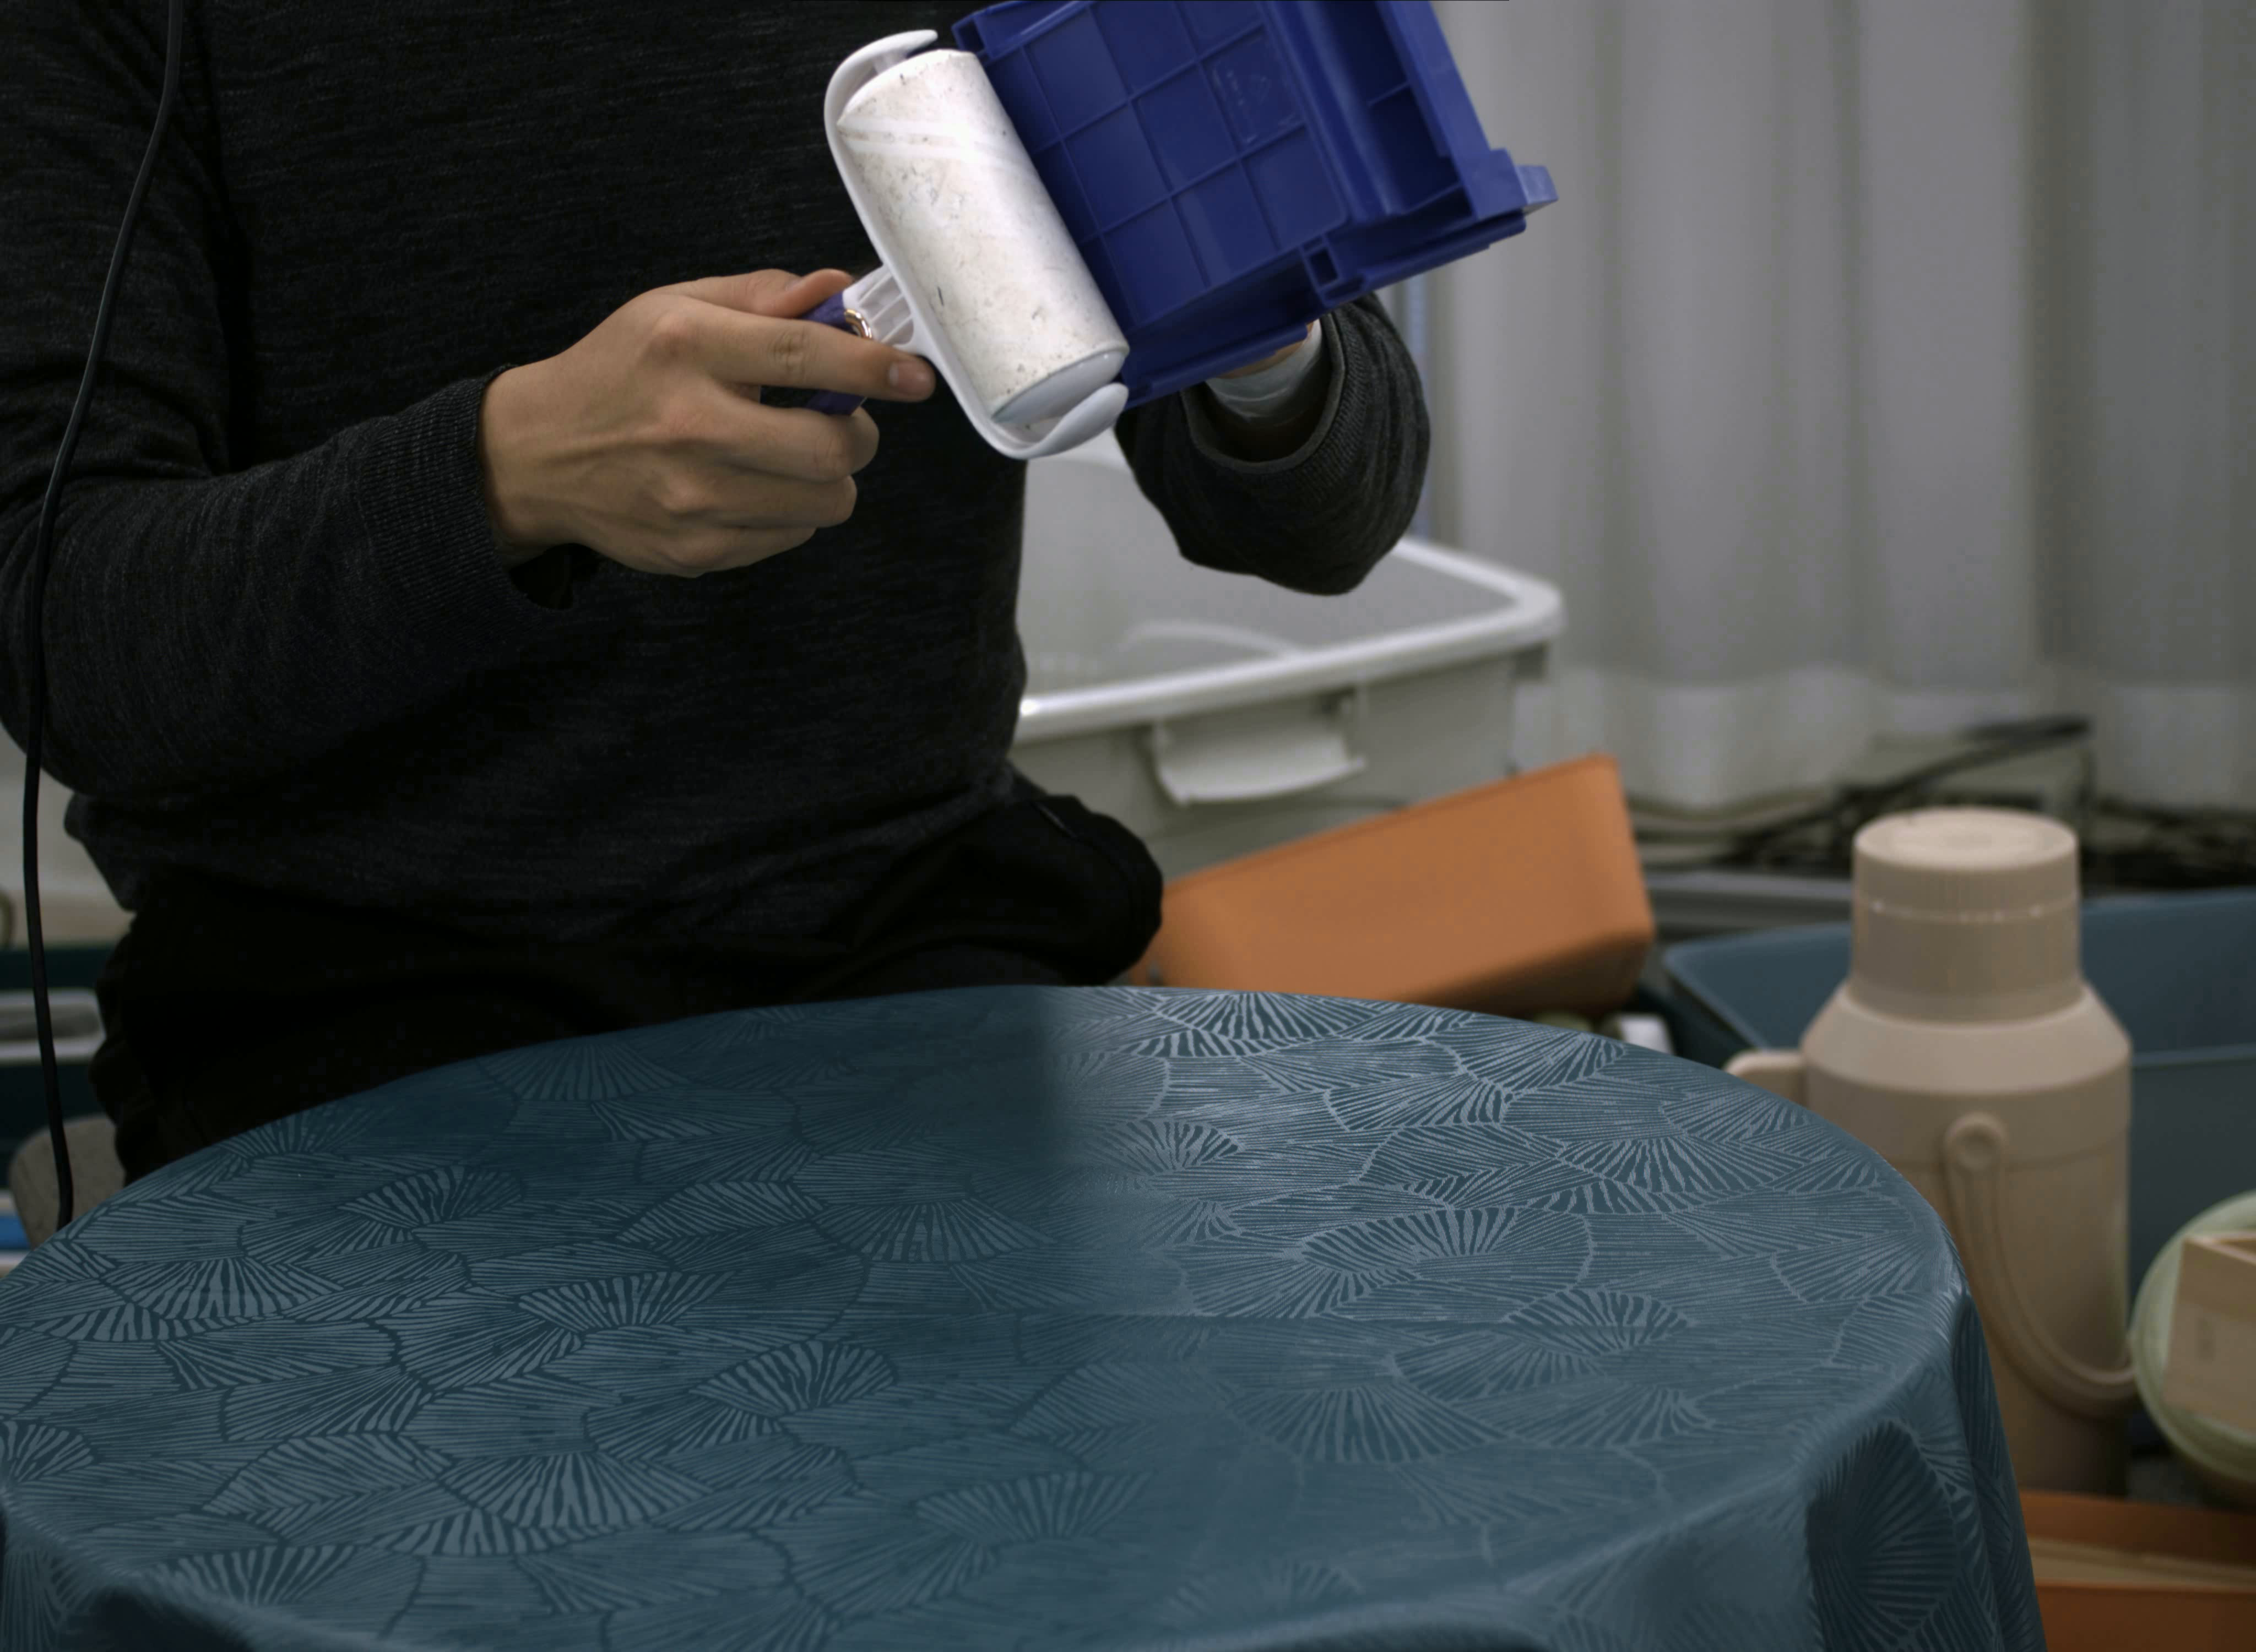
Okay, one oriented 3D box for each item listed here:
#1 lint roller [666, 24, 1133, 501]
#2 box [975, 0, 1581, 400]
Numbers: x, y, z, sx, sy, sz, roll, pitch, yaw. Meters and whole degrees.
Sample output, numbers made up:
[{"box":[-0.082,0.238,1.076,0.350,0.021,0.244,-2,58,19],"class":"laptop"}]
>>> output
[{"box":[-0.088,-0.146,1.640,0.180,0.133,0.050,-30,-7,33],"class":"lint roller"},{"box":[0.046,-0.211,1.586,0.082,0.125,0.179,-21,-2,-41],"class":"box"}]
